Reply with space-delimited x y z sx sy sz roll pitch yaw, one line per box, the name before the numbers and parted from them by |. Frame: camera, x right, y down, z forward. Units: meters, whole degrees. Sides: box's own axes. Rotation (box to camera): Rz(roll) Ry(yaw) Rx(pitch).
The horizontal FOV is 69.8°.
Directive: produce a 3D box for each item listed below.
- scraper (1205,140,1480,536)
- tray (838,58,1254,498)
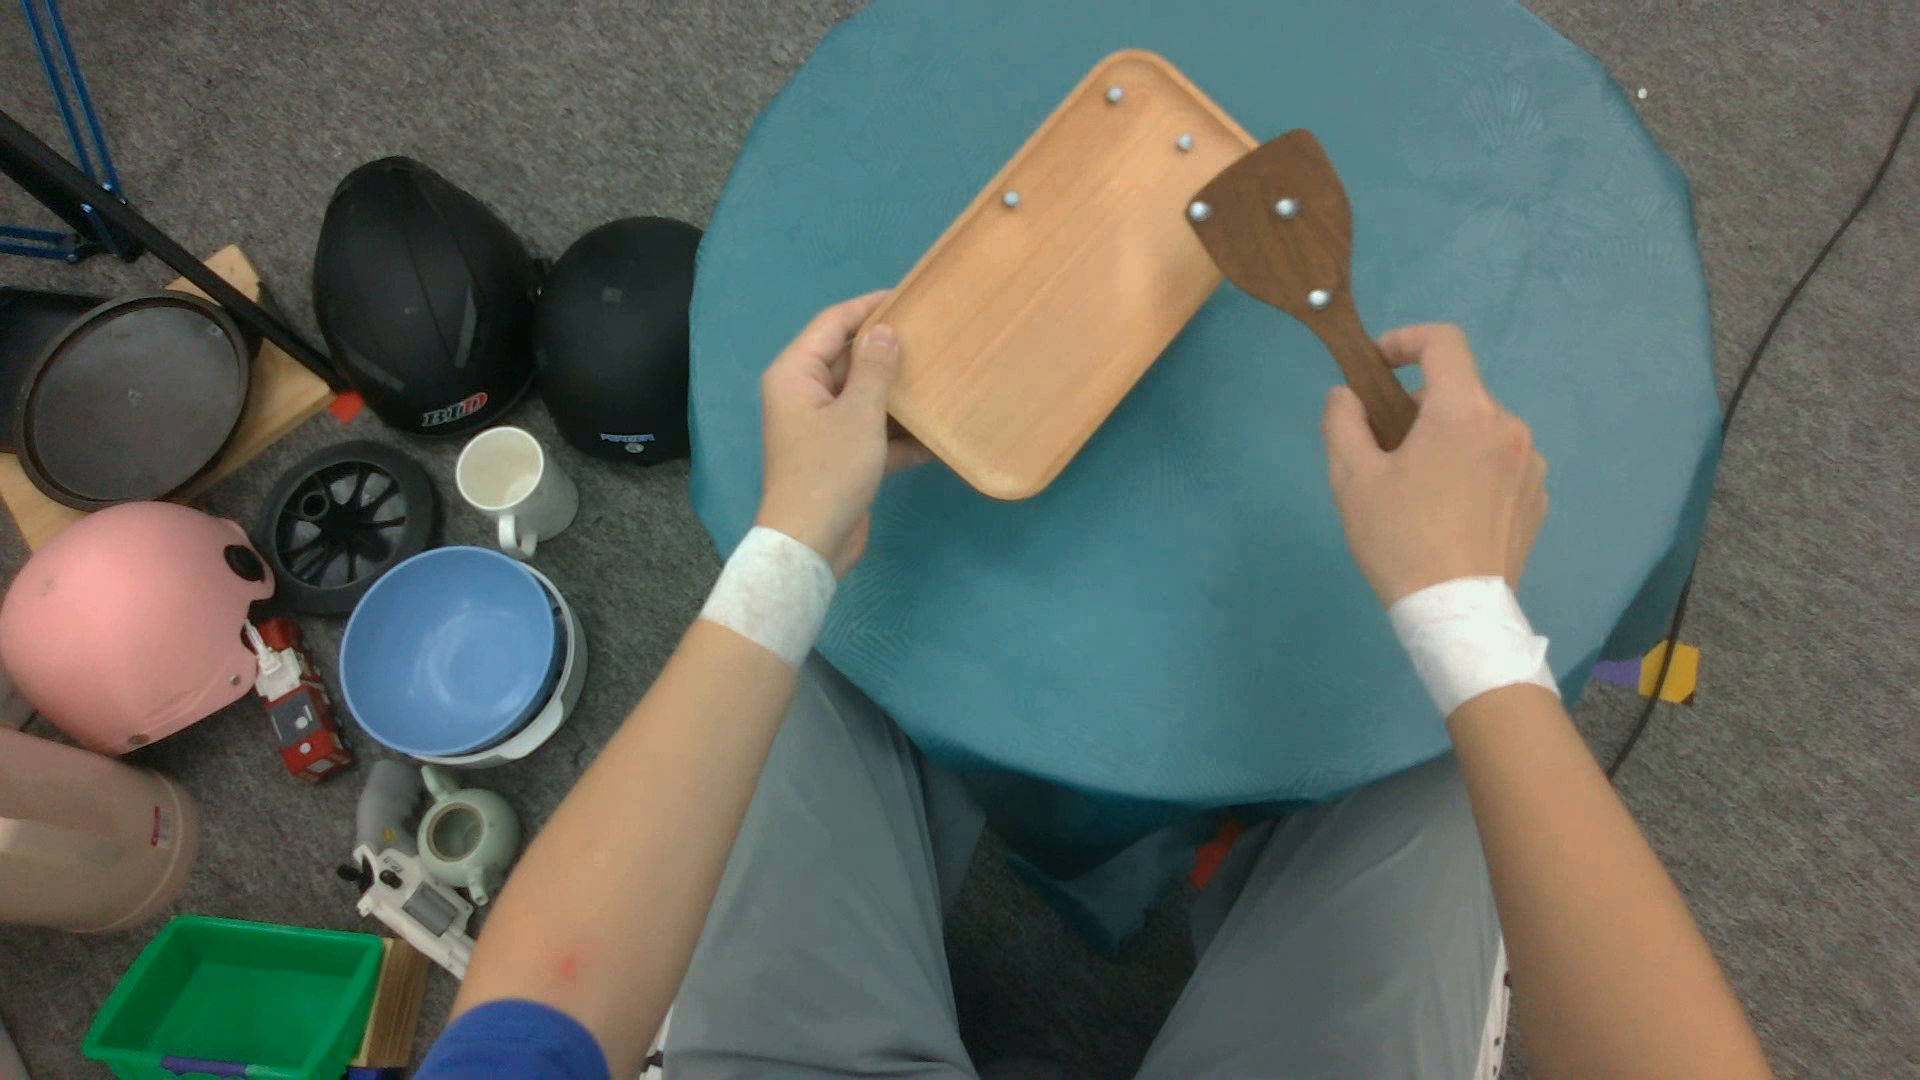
scraper | 0.196 -0.099 0.683 0.075 0.011 0.211 -28 73 16
tray | 0.051 -0.144 0.747 0.130 0.023 0.251 40 77 2
